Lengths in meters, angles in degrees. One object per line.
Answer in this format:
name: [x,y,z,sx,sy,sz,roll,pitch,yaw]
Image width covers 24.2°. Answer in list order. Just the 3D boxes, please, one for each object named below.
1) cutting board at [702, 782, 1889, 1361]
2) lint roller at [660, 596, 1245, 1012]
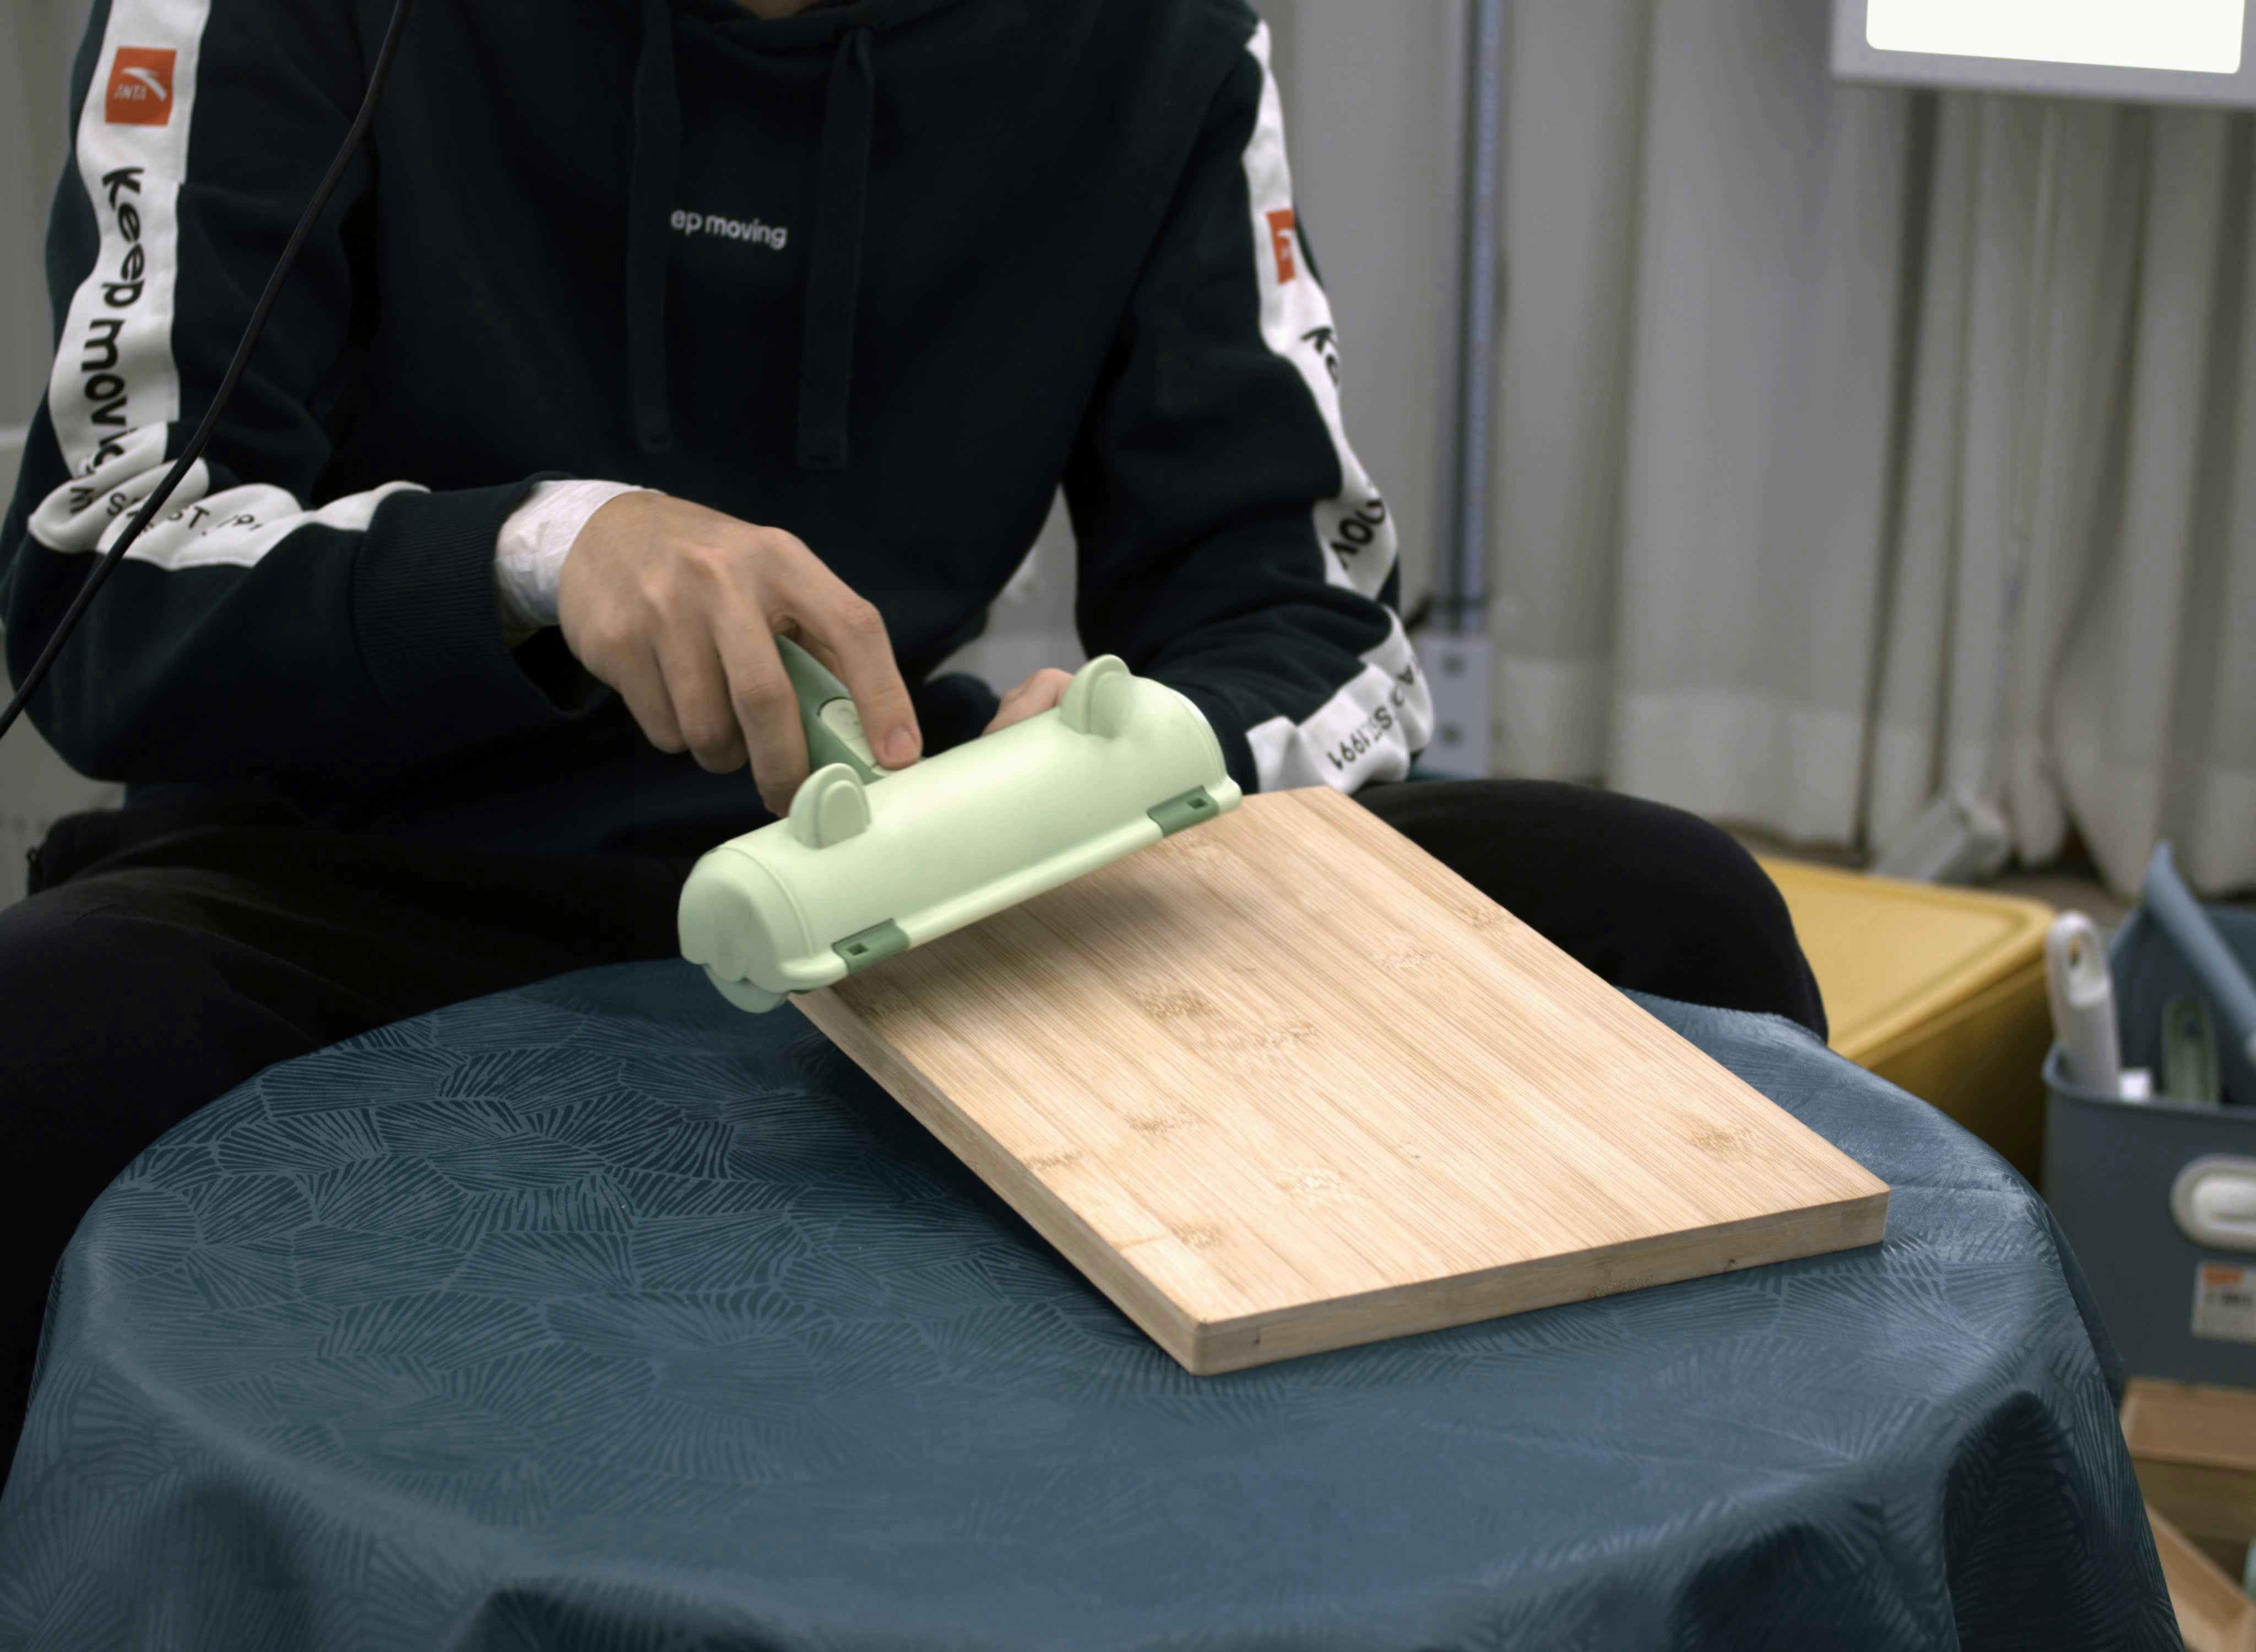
cutting board: [0.043,0.069,1.662,0.252,0.024,0.344,-8,25,-29]
lint roller: [-0.086,-0.035,1.695,0.199,0.083,0.181,-23,58,-39]
